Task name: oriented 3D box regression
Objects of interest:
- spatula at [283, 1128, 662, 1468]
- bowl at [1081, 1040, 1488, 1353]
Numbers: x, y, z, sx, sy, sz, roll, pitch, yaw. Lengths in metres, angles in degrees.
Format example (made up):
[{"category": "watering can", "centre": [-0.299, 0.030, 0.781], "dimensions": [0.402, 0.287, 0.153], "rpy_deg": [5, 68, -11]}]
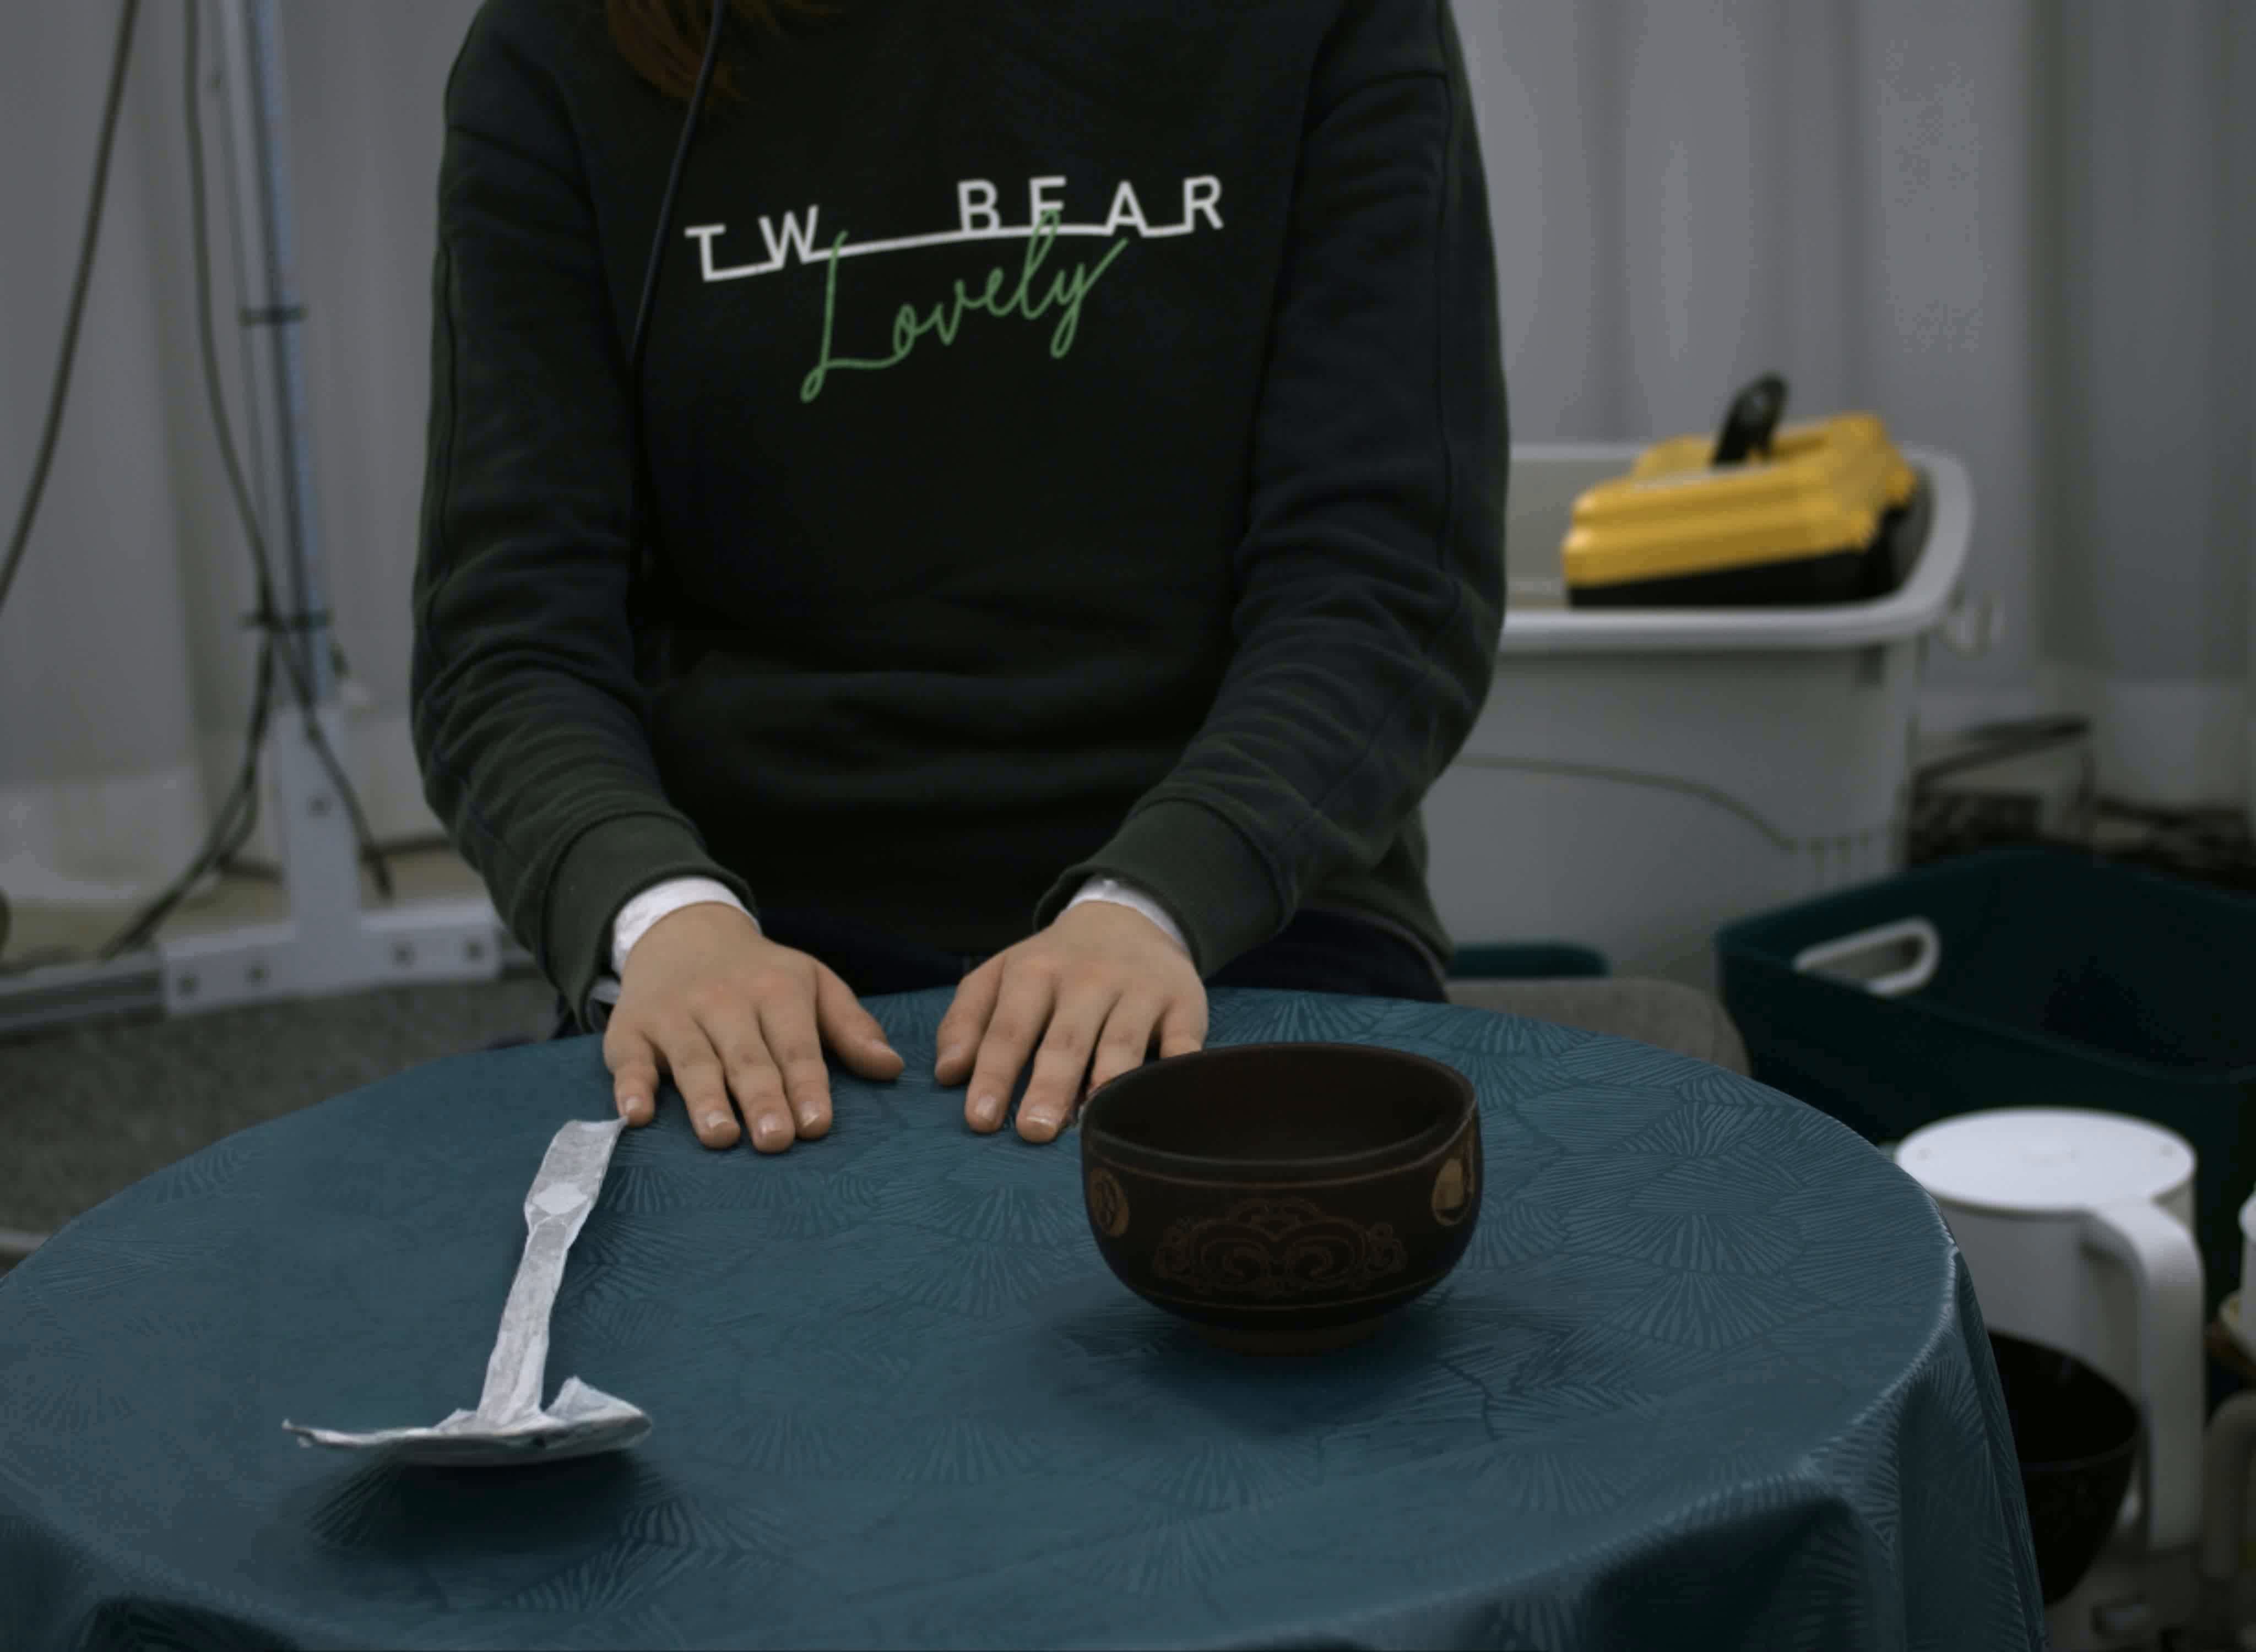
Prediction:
[{"category": "spatula", "centre": [-0.171, 0.130, 1.614], "dimensions": [0.098, 0.044, 0.367], "rpy_deg": [-4, 15, 3]}, {"category": "bowl", "centre": [0.045, 0.111, 1.583], "dimensions": [0.117, 0.069, 0.119], "rpy_deg": [-1, 14, 0]}]
